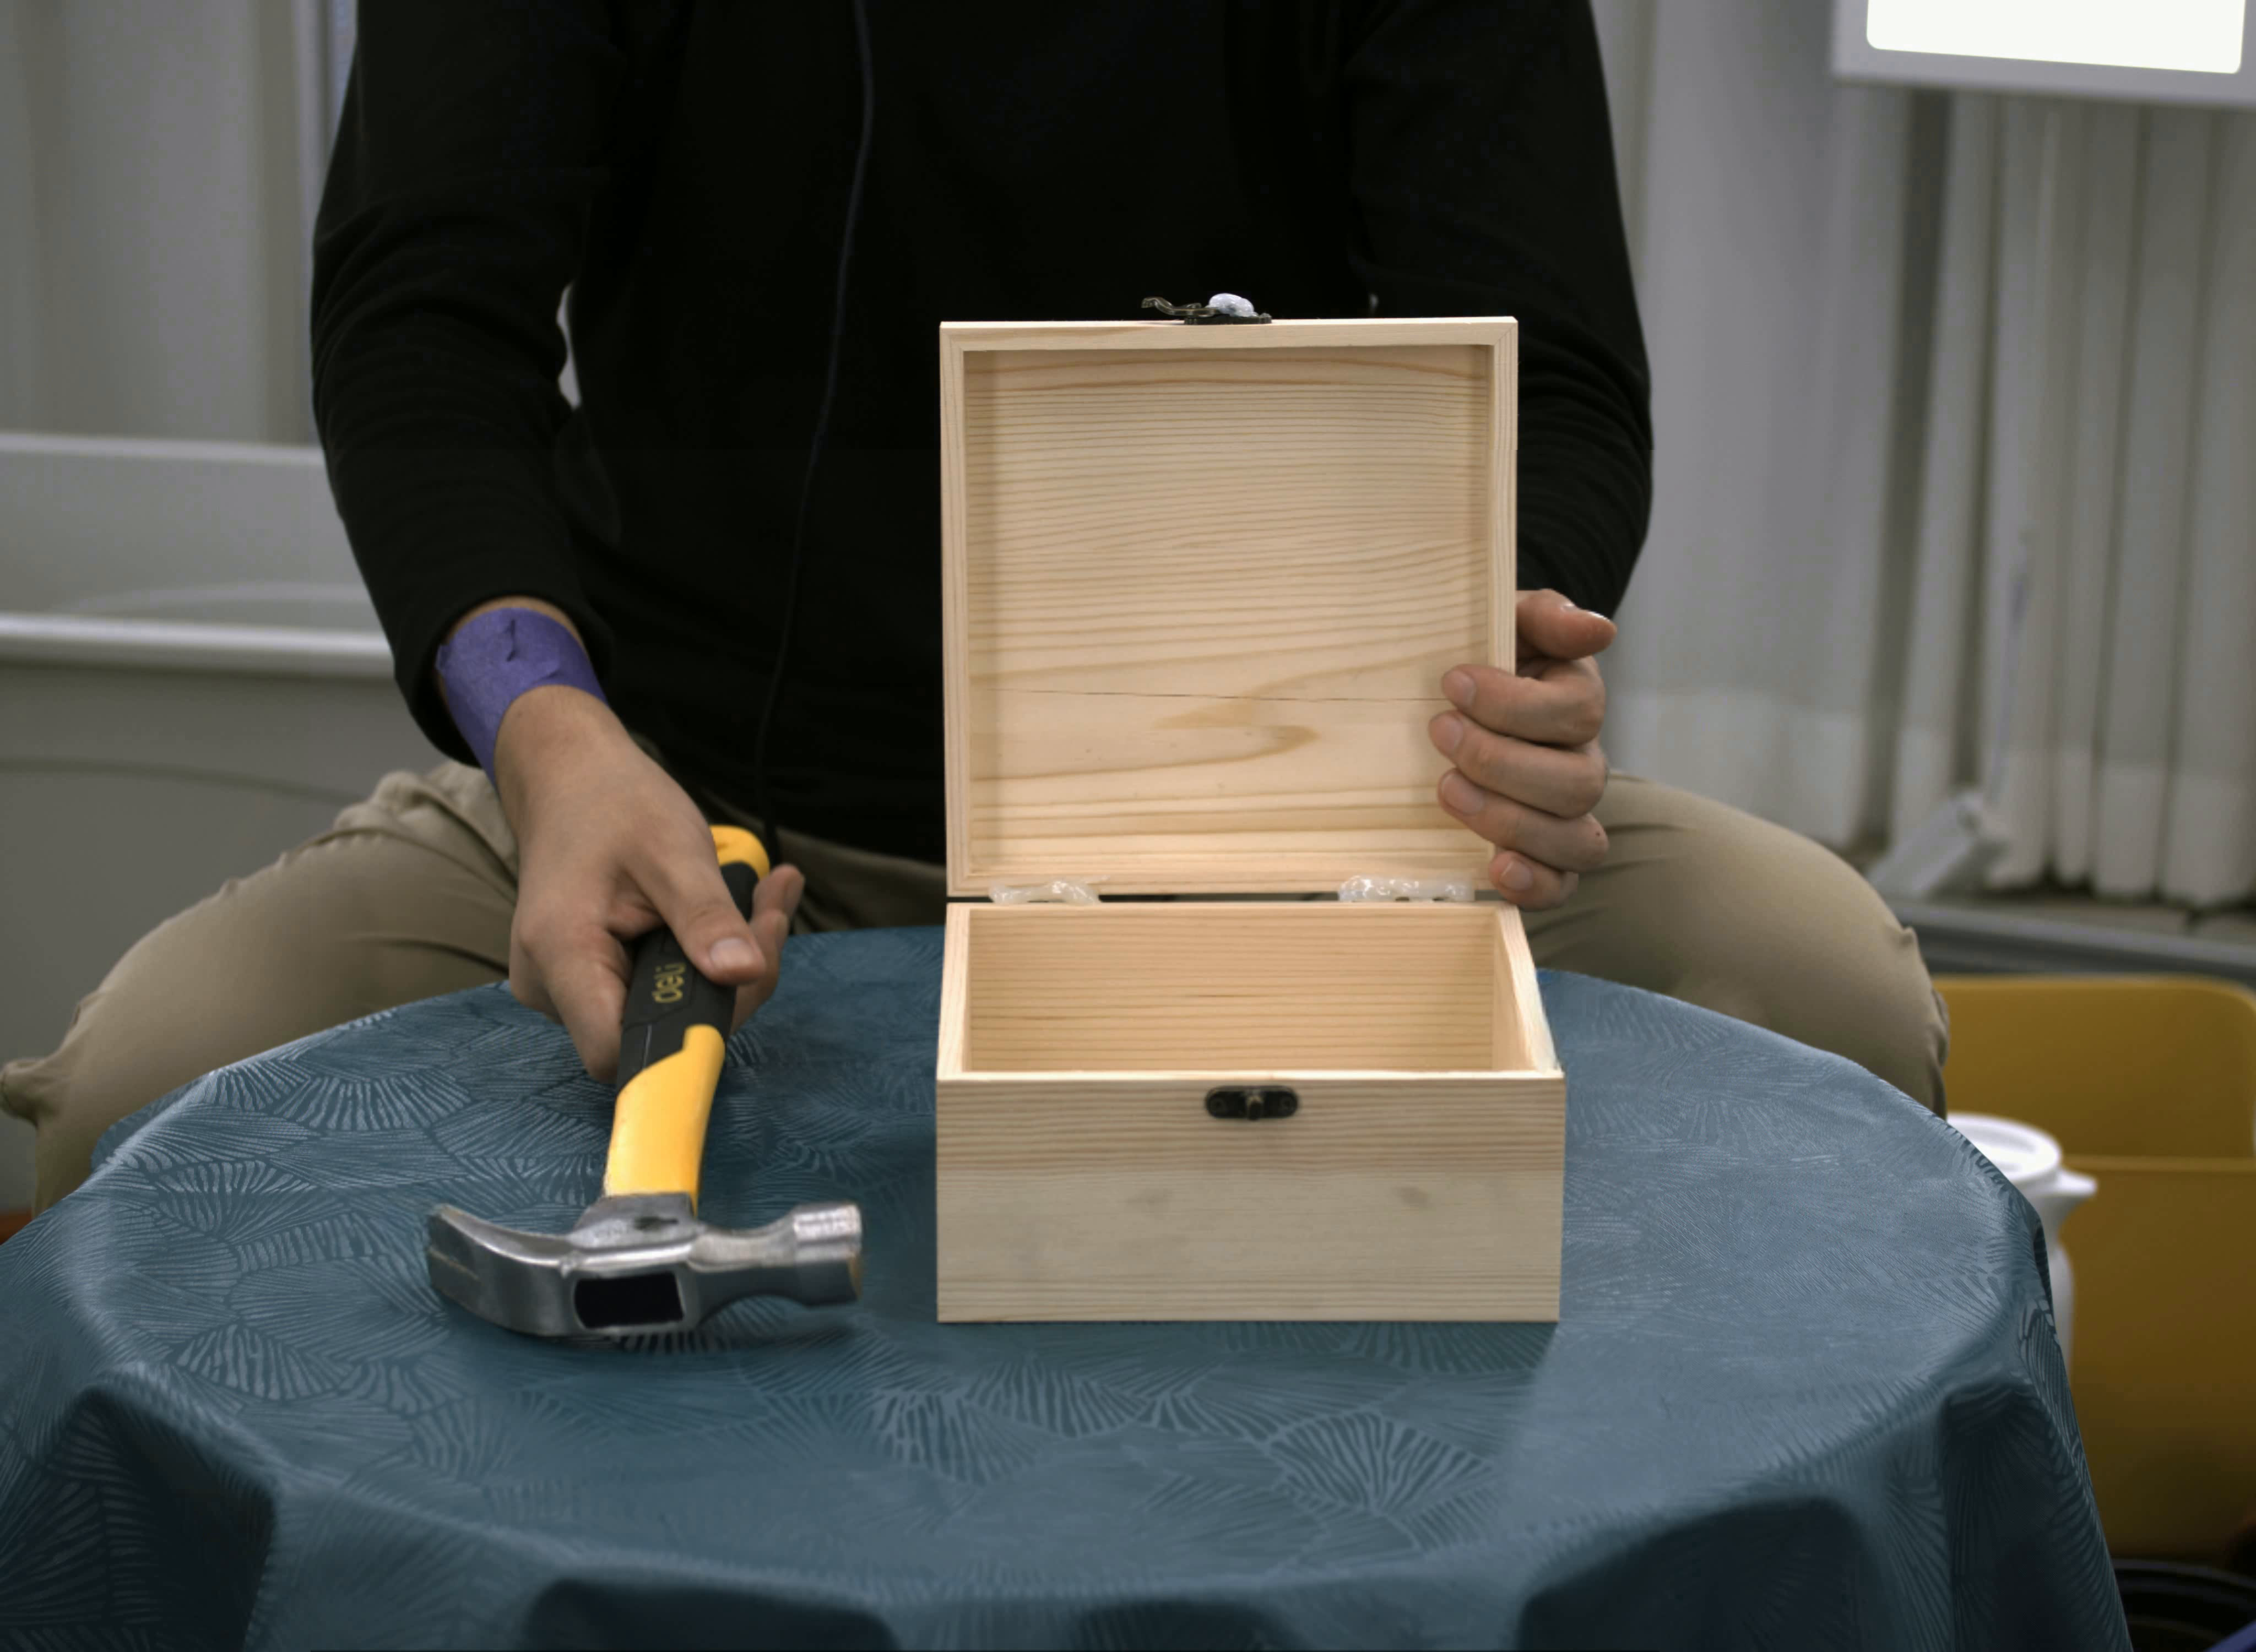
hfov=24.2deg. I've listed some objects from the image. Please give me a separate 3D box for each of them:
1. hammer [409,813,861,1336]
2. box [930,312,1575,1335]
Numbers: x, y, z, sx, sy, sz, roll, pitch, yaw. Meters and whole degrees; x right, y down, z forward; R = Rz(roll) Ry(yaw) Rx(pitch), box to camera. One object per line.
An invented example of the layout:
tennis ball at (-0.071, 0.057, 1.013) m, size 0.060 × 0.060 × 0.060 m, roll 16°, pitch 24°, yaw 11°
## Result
hammer at (-0.142, 0.068, 1.632) m, size 0.131 × 0.032 × 0.336 m, roll -7°, pitch 22°, yaw 3°
box at (0.033, -0.010, 1.596) m, size 0.181 × 0.255 × 0.263 m, roll -2°, pitch 16°, yaw -1°
